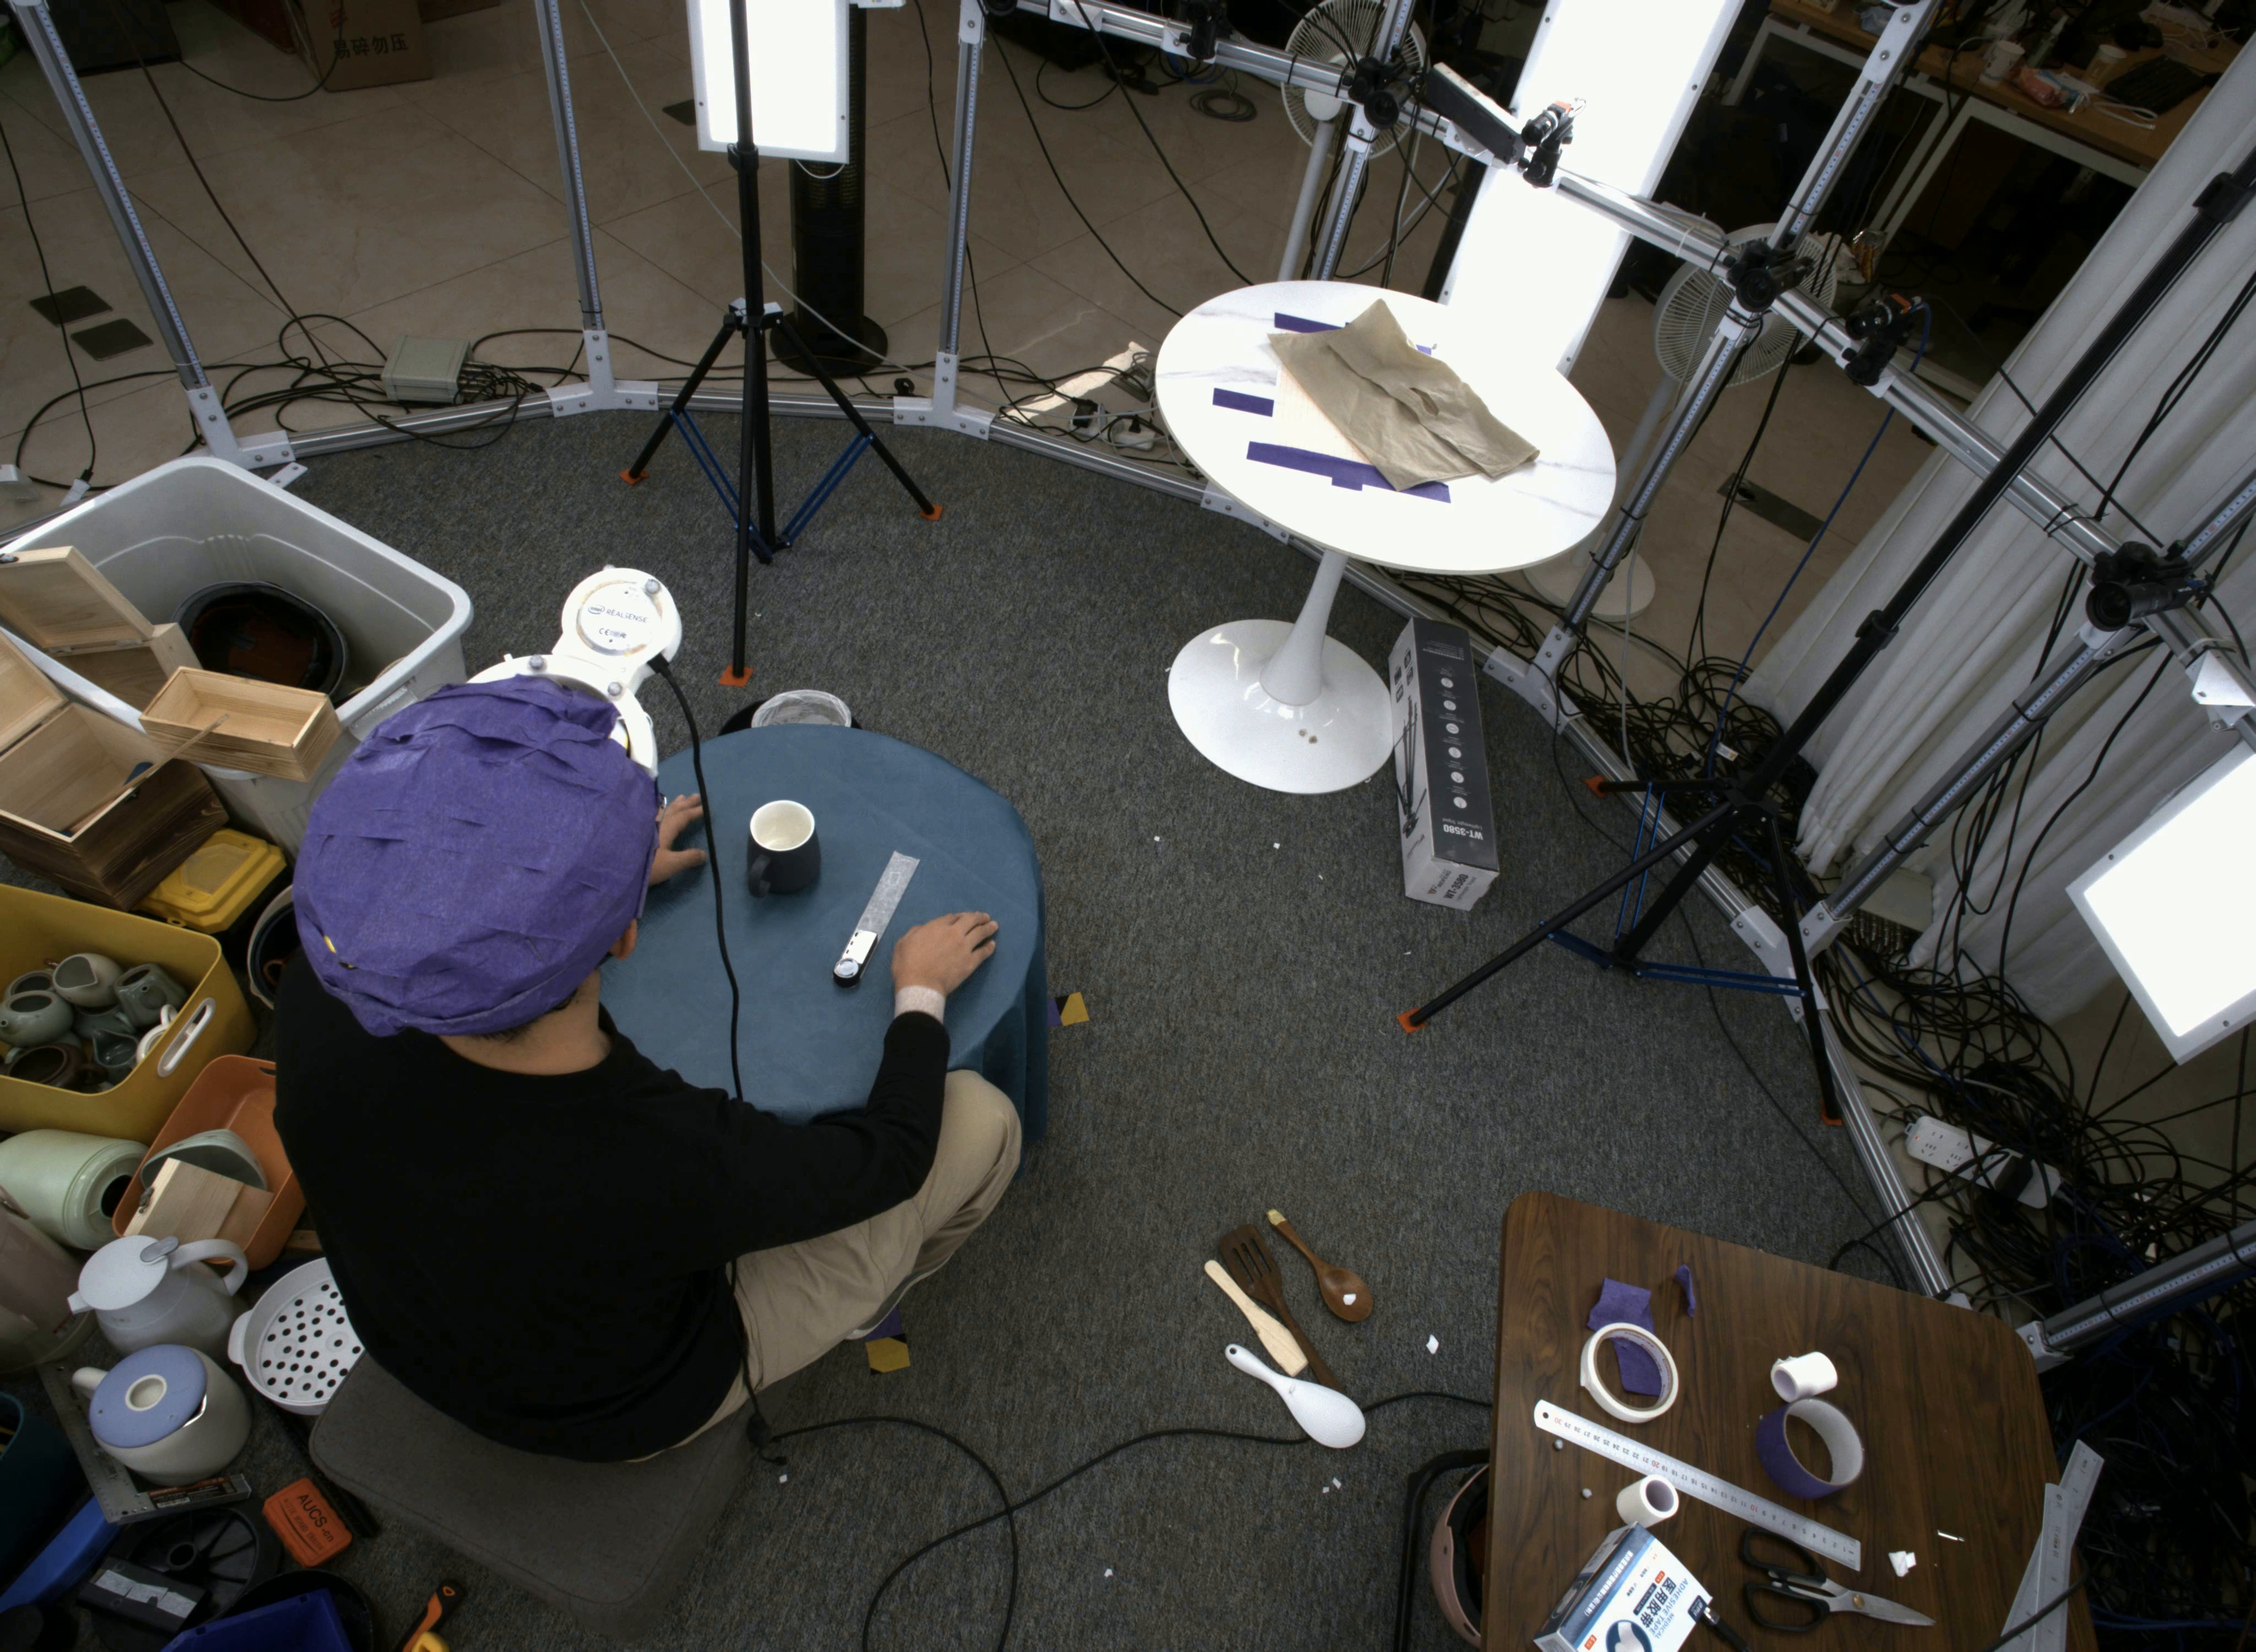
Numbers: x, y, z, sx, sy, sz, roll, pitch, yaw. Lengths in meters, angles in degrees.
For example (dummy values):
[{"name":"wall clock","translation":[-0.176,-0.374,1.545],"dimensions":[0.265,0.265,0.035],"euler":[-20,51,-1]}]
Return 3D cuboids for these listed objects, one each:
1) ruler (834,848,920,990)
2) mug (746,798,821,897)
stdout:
[{"name":"ruler","translation":[-0.319,0.110,1.650],"dimensions":[0.038,0.024,0.216],"euler":[23,53,-4]},{"name":"mug","translation":[-0.443,0.033,1.628],"dimensions":[0.092,0.092,0.122],"euler":[22,50,6]}]
